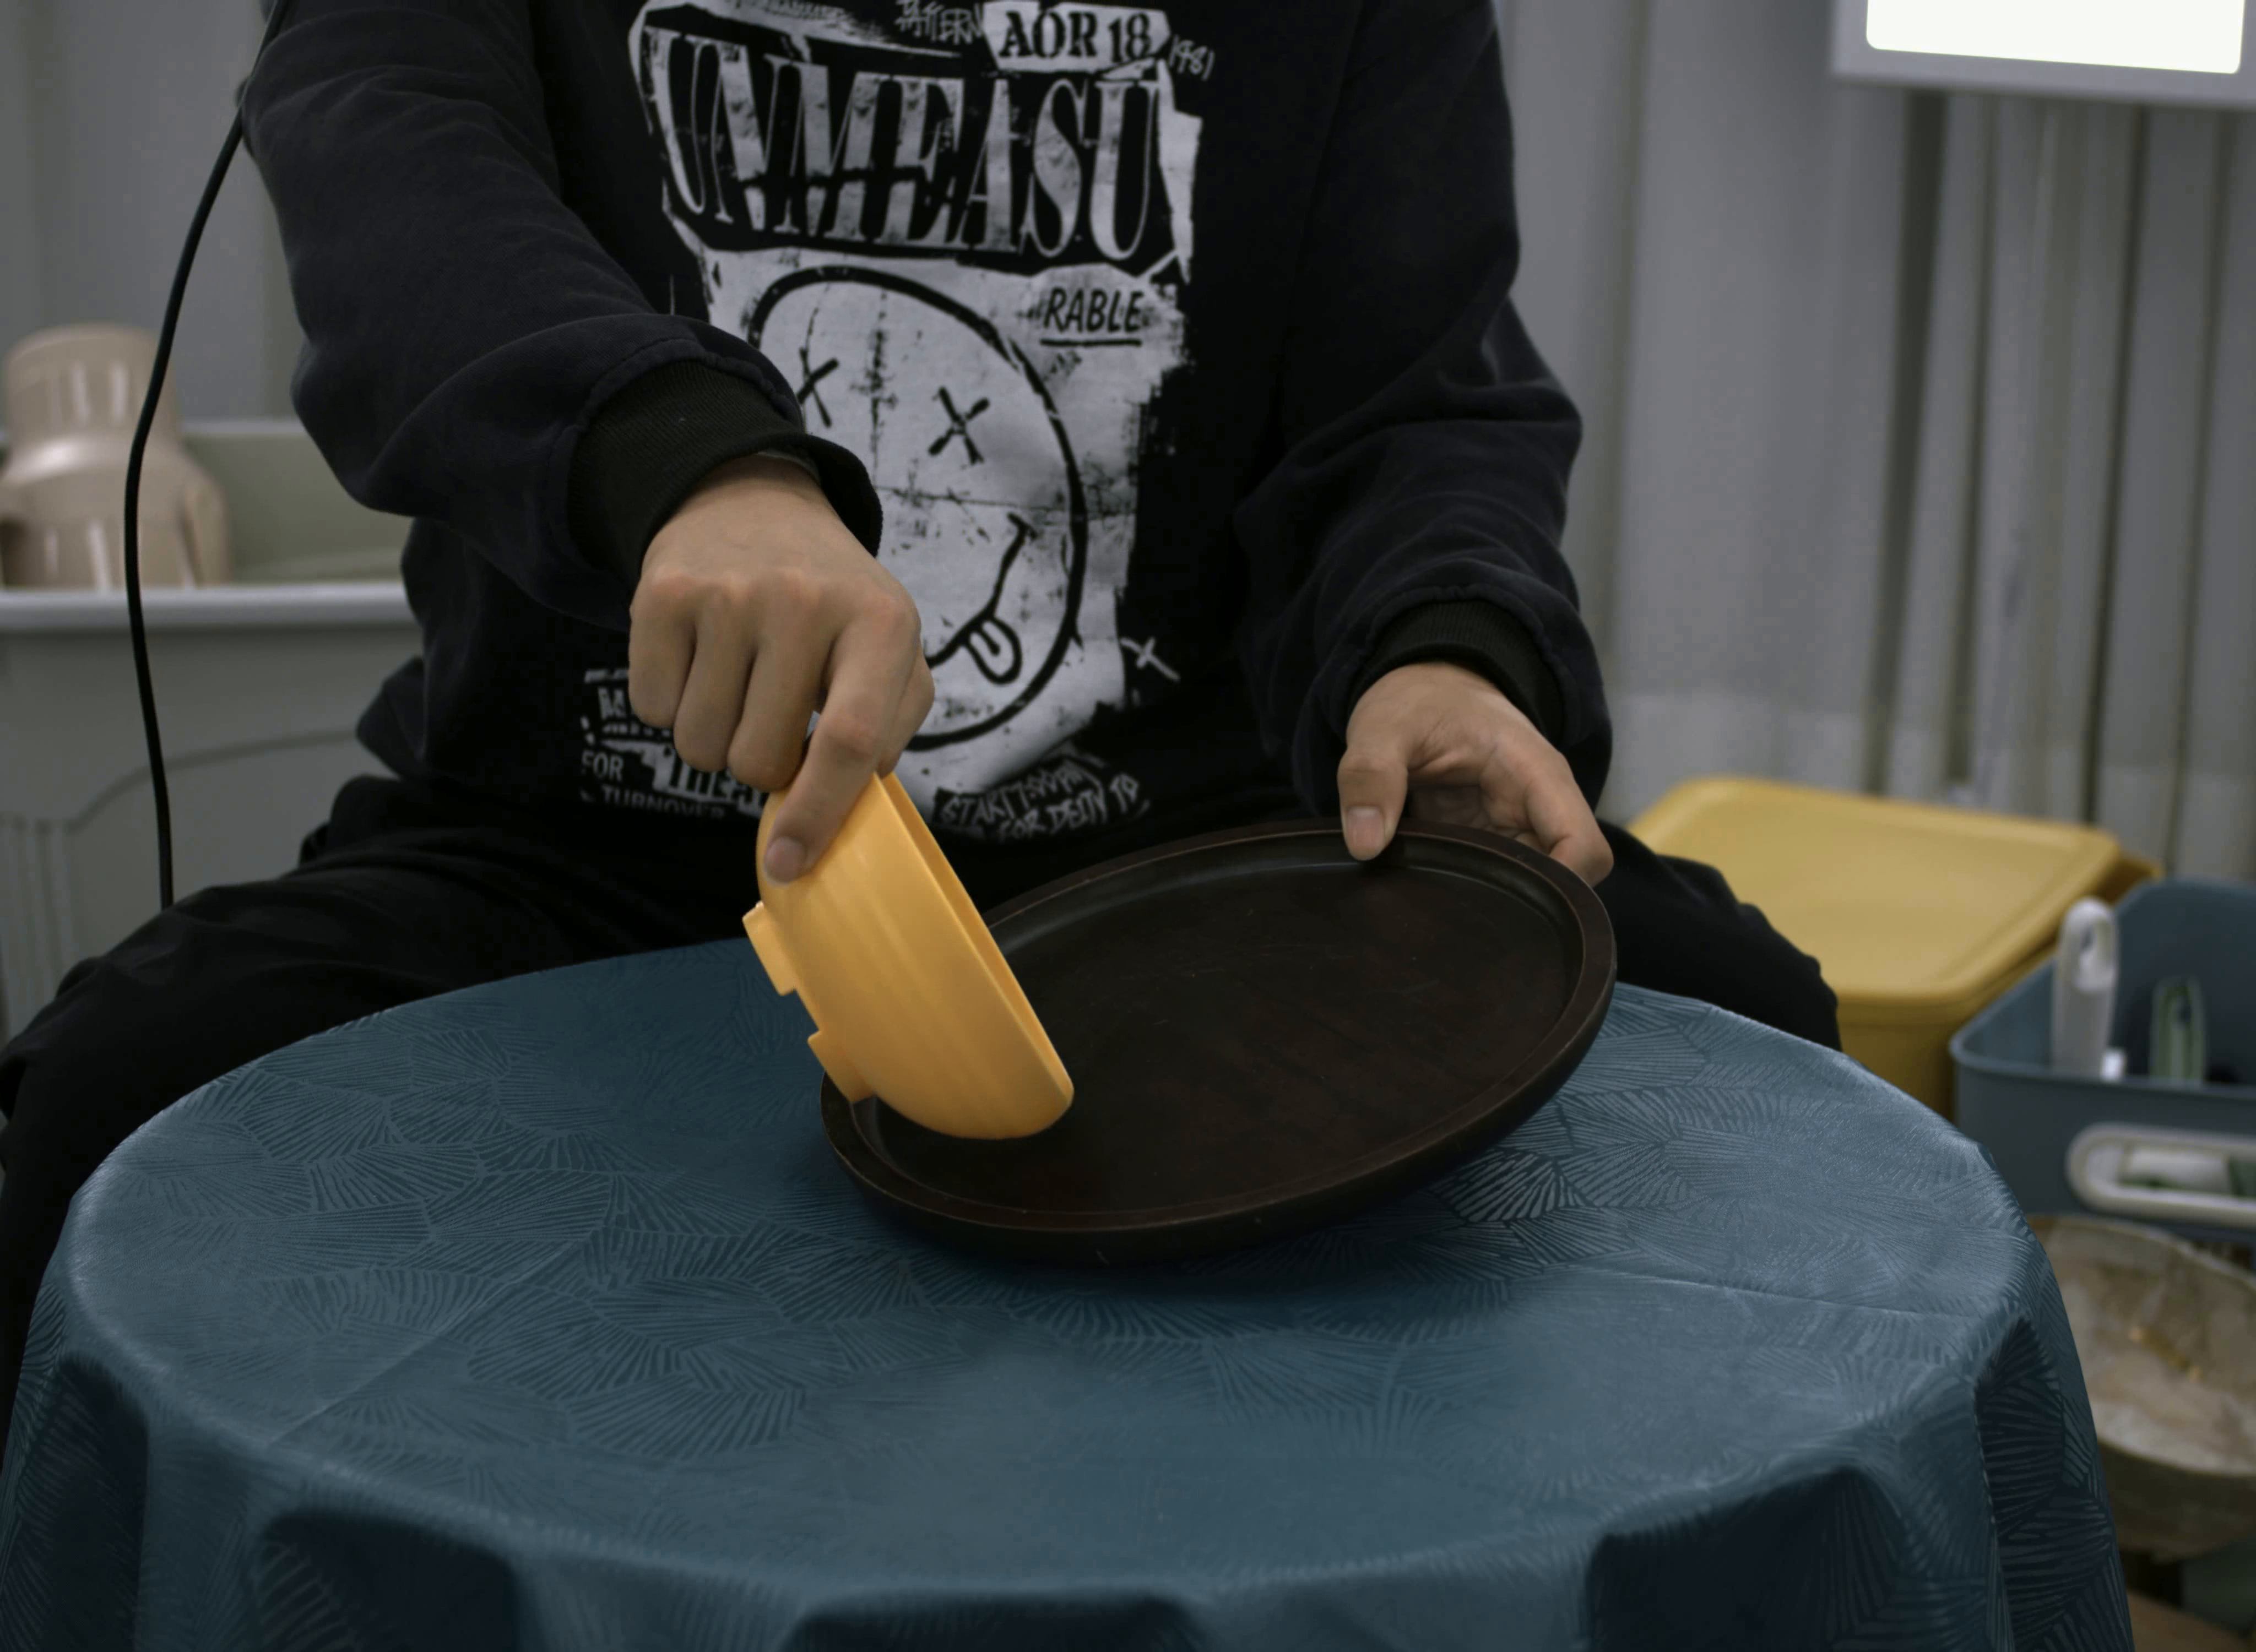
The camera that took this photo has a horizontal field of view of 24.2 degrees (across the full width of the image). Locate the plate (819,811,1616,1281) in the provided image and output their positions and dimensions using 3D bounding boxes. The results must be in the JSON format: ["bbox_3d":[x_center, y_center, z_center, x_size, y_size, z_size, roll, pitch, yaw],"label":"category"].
[{"bbox_3d":[0.029,0.066,1.635,0.253,0.029,0.253,-12,26,7],"label":"plate"}]

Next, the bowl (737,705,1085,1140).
[{"bbox_3d":[-0.074,0.040,1.558,0.060,0.147,0.144,-32,21,-2],"label":"bowl"}]
